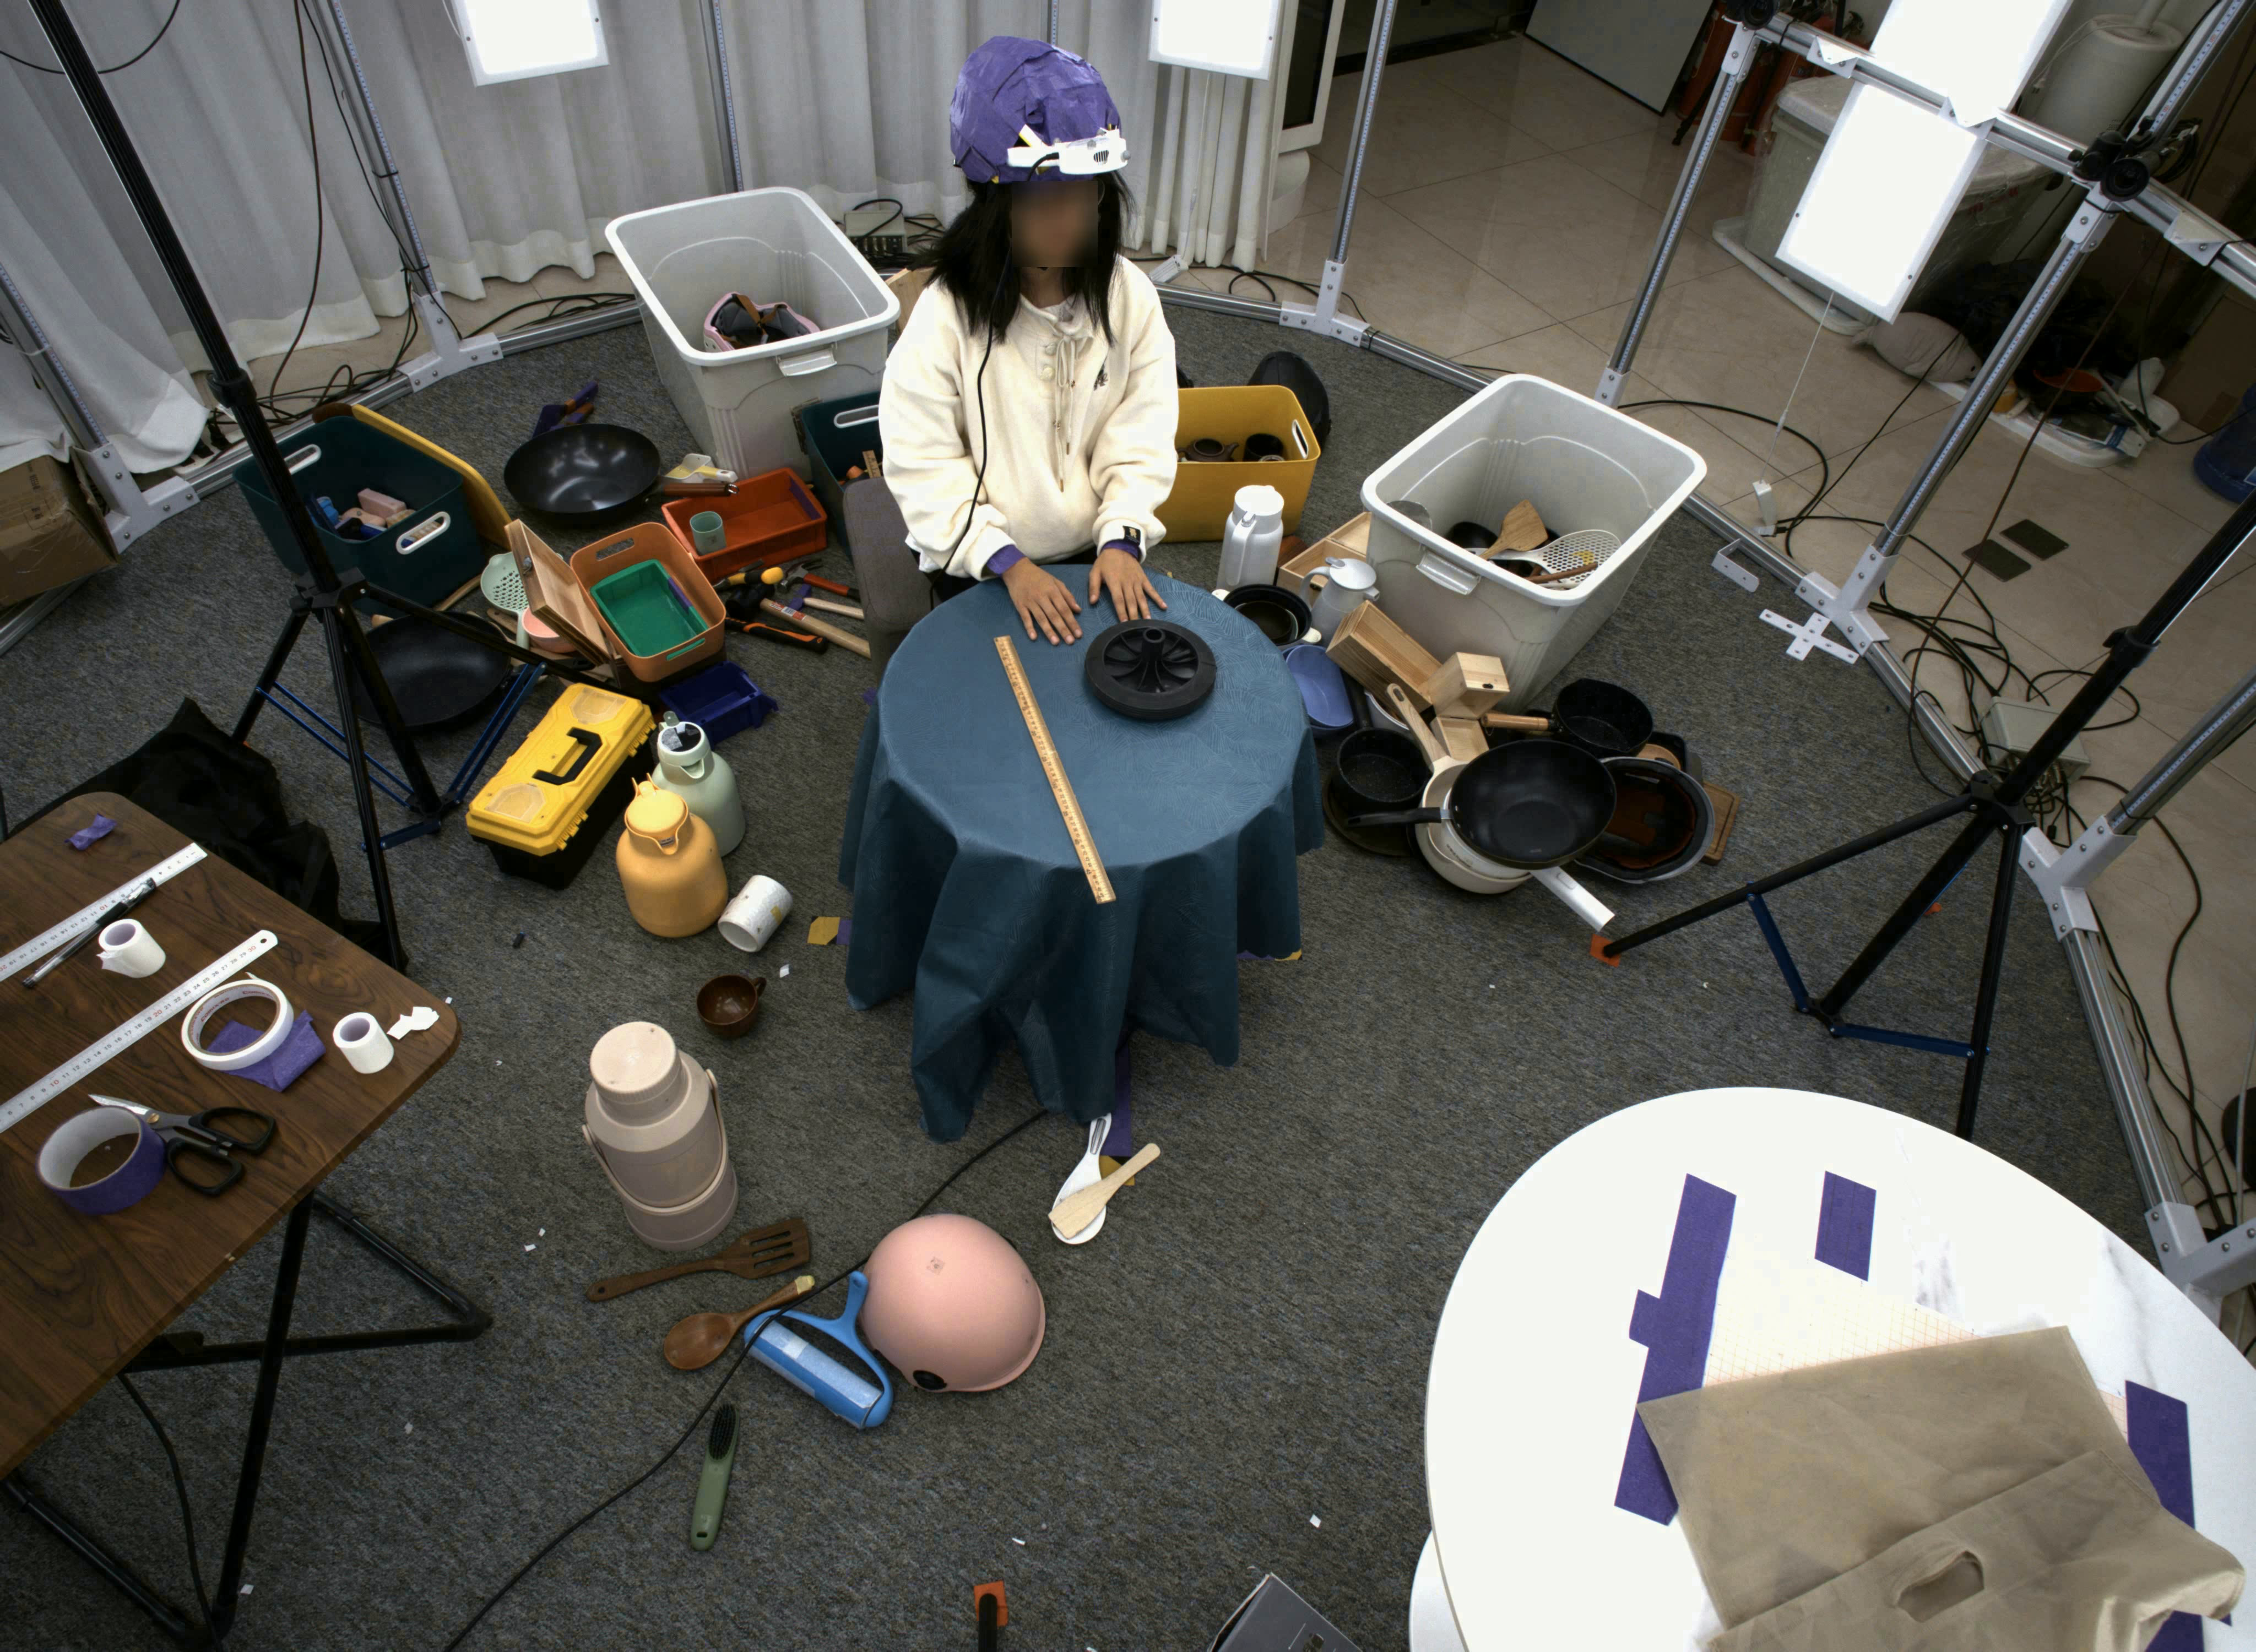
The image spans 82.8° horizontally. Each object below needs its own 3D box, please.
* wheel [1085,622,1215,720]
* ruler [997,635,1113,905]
[{"bbox_3d":[0.034,-0.240,1.831,0.189,0.077,0.192,31,54,21],"label":"wheel"},{"bbox_3d":[-0.107,-0.092,1.739,0.027,0.006,0.513,-12,51,-12],"label":"ruler"}]
